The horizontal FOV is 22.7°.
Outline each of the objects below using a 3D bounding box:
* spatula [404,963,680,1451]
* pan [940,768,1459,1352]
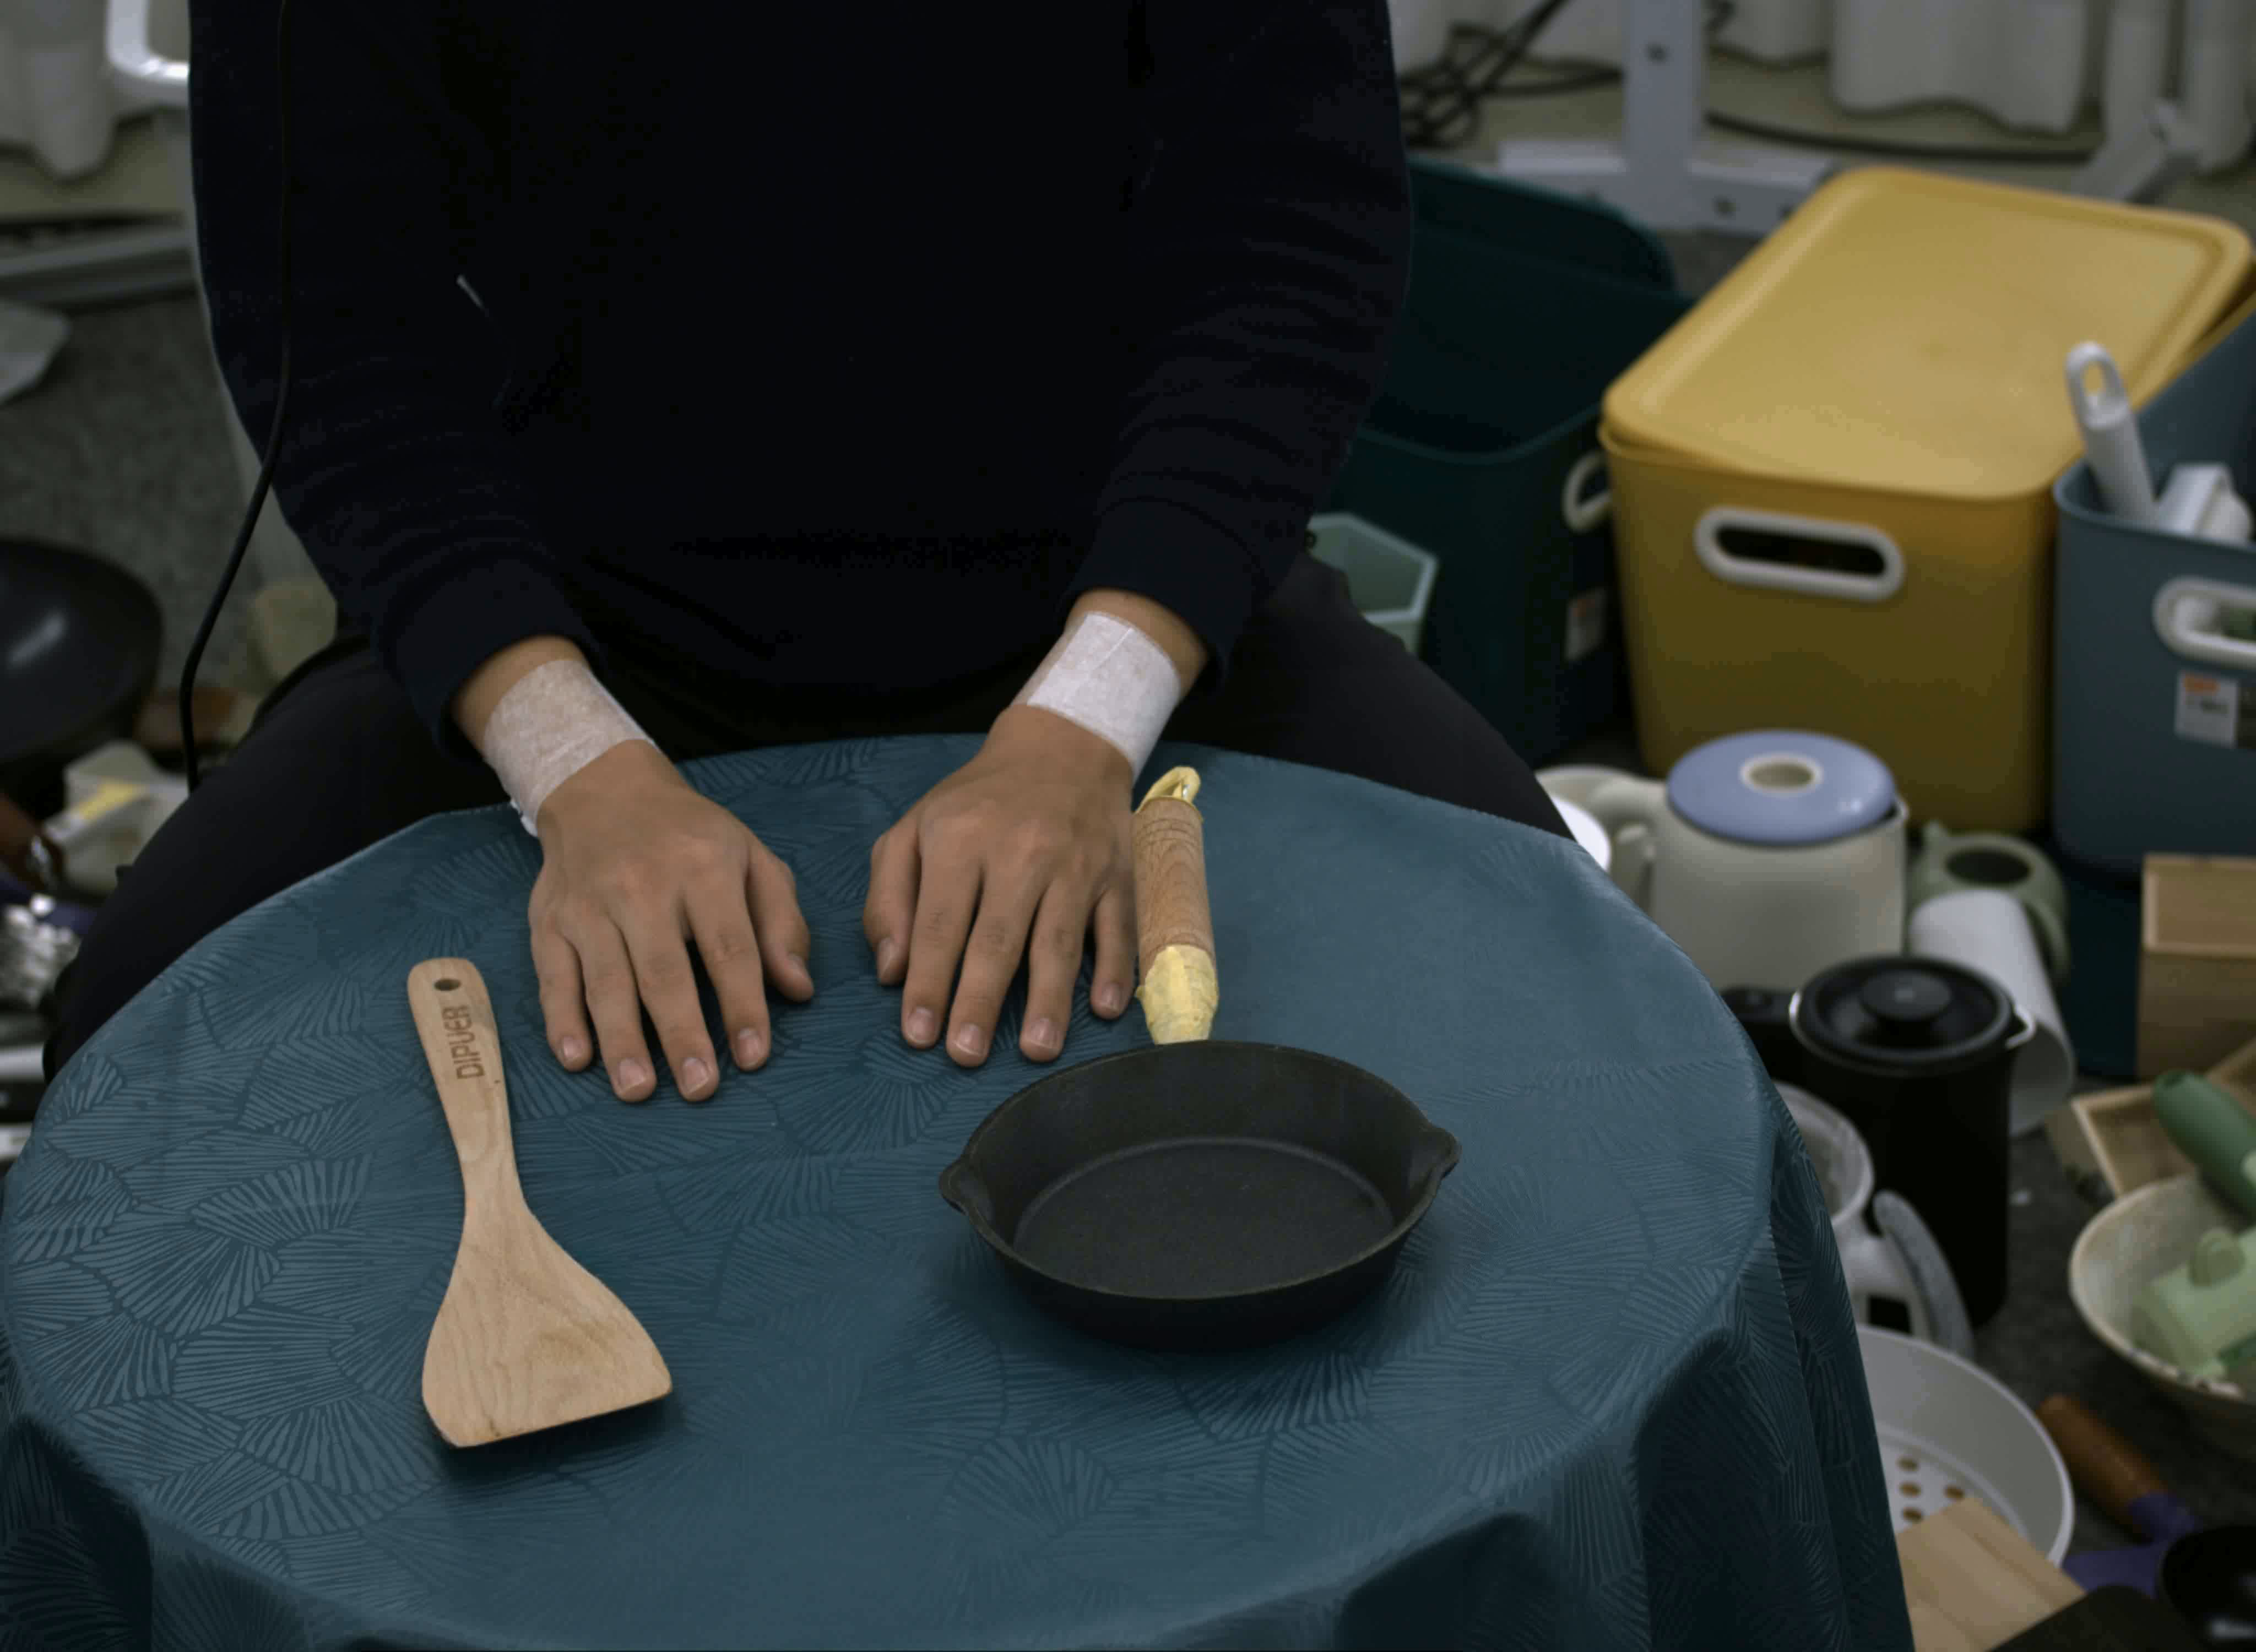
[{"bbox_3d":[-0.210,0.120,1.868,0.080,0.016,0.331,-8,28,-11],"label":"spatula"},{"bbox_3d":[0.022,0.076,1.894,0.168,0.049,0.329,-3,29,0],"label":"pan"}]
